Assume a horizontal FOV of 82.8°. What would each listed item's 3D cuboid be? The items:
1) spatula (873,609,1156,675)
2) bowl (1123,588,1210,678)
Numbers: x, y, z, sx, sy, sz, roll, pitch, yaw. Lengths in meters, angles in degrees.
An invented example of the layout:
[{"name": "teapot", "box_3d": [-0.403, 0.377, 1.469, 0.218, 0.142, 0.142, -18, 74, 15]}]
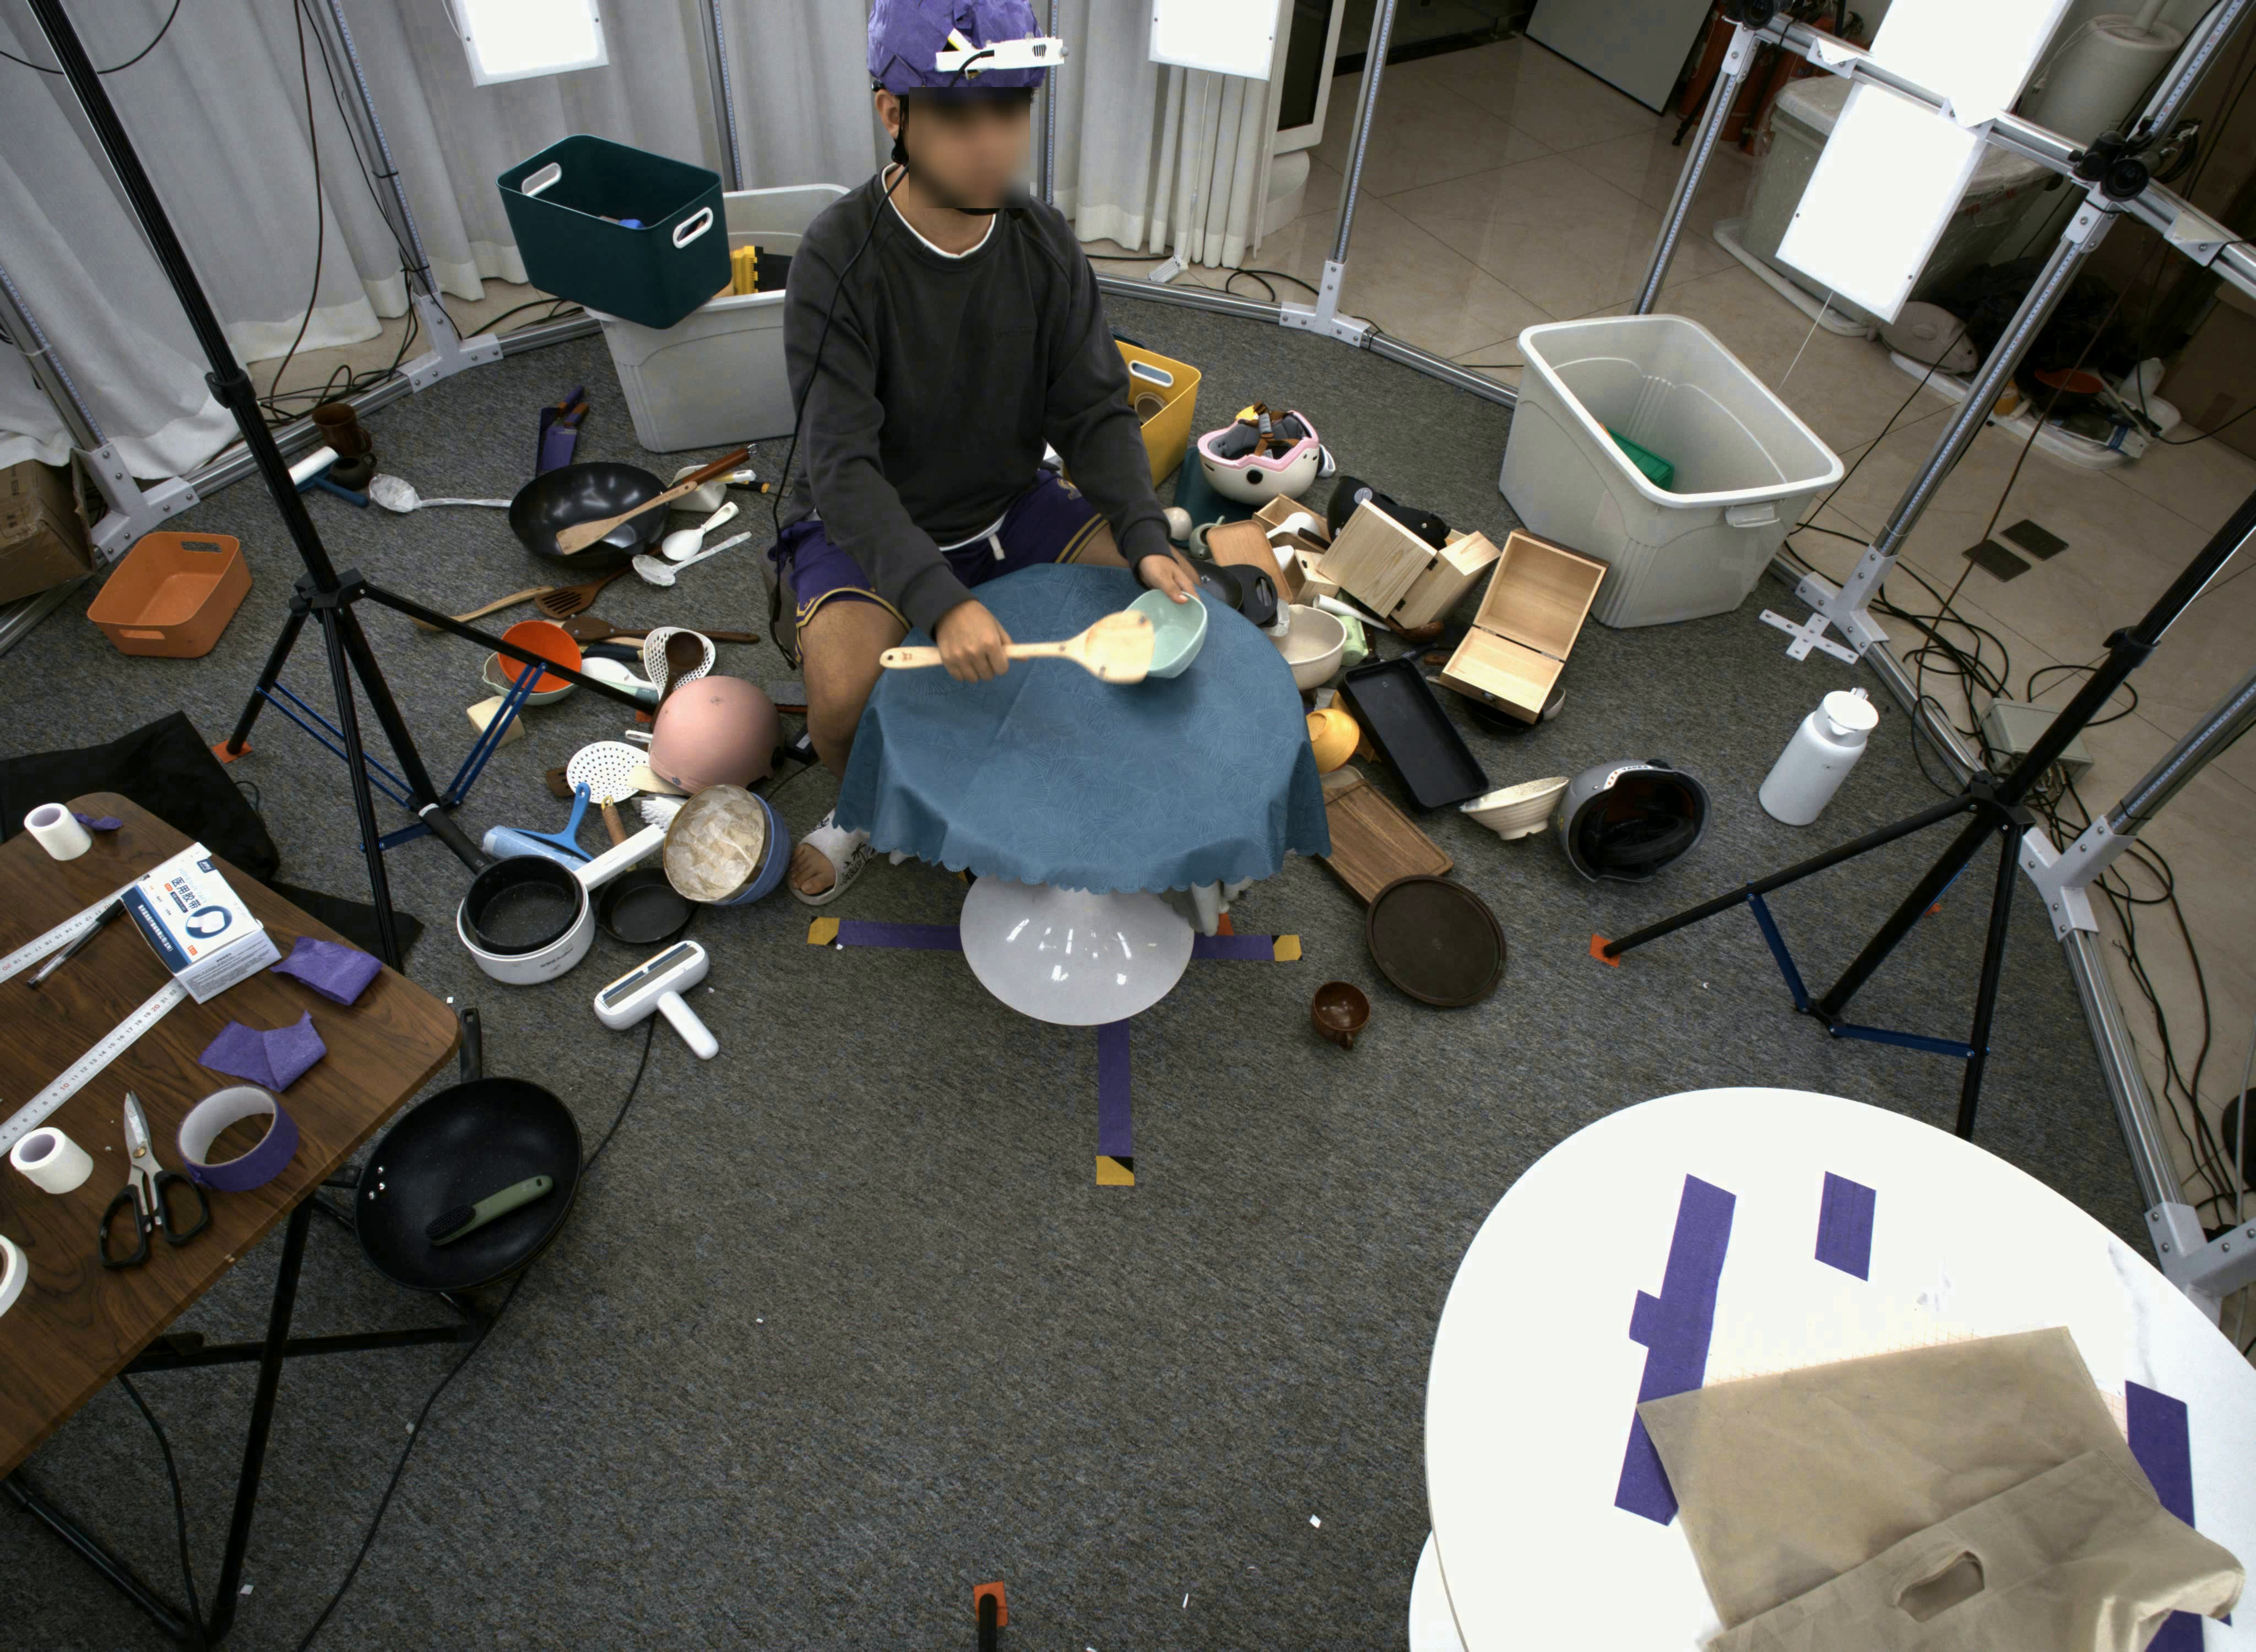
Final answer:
[{"name": "spatula", "box_3d": [-0.153, -0.230, 1.691, 0.391, 0.018, 0.097, -2, 65, 13]}, {"name": "bowl", "box_3d": [0.054, -0.267, 1.841, 0.151, 0.057, 0.155, -12, 55, 18]}]
